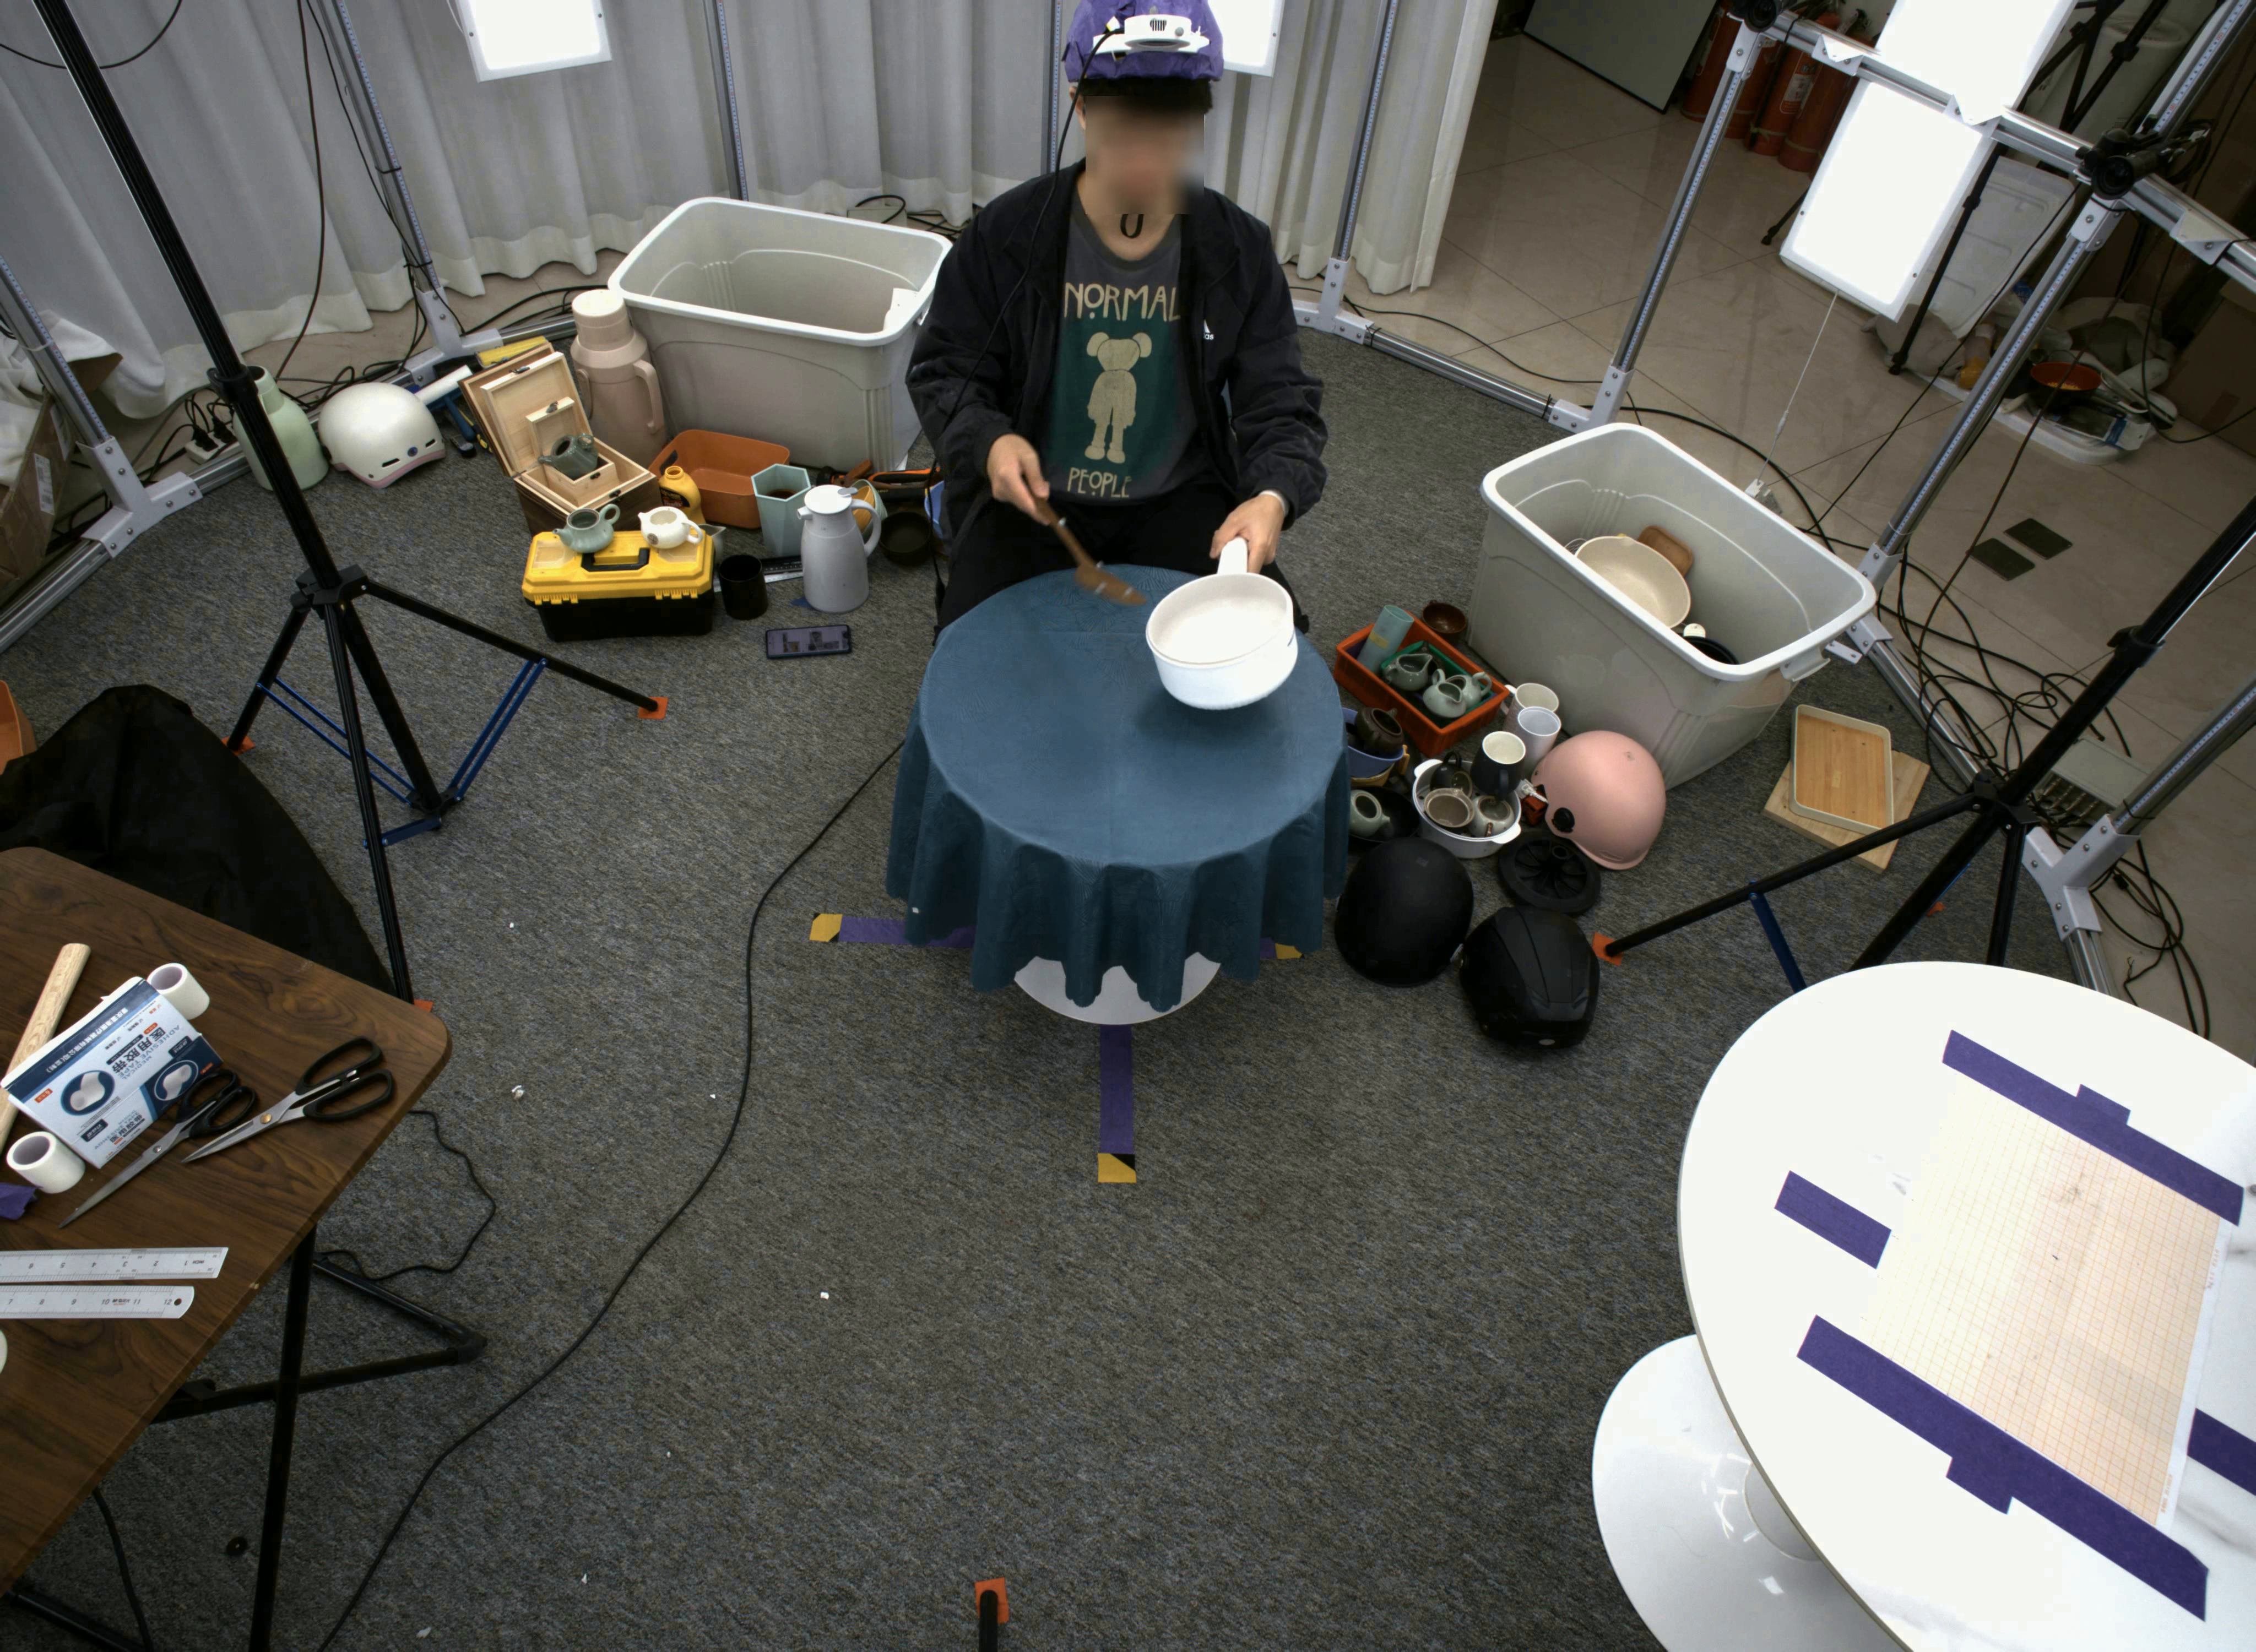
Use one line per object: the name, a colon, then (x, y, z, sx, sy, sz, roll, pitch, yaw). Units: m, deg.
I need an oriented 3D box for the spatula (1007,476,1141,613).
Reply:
spatula: (-0.094, -0.402, 1.806, 0.095, 0.015, 0.395, 3, 37, -32)

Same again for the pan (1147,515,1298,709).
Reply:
pan: (0.148, -0.303, 1.816, 0.201, 0.099, 0.363, -4, 42, 18)
